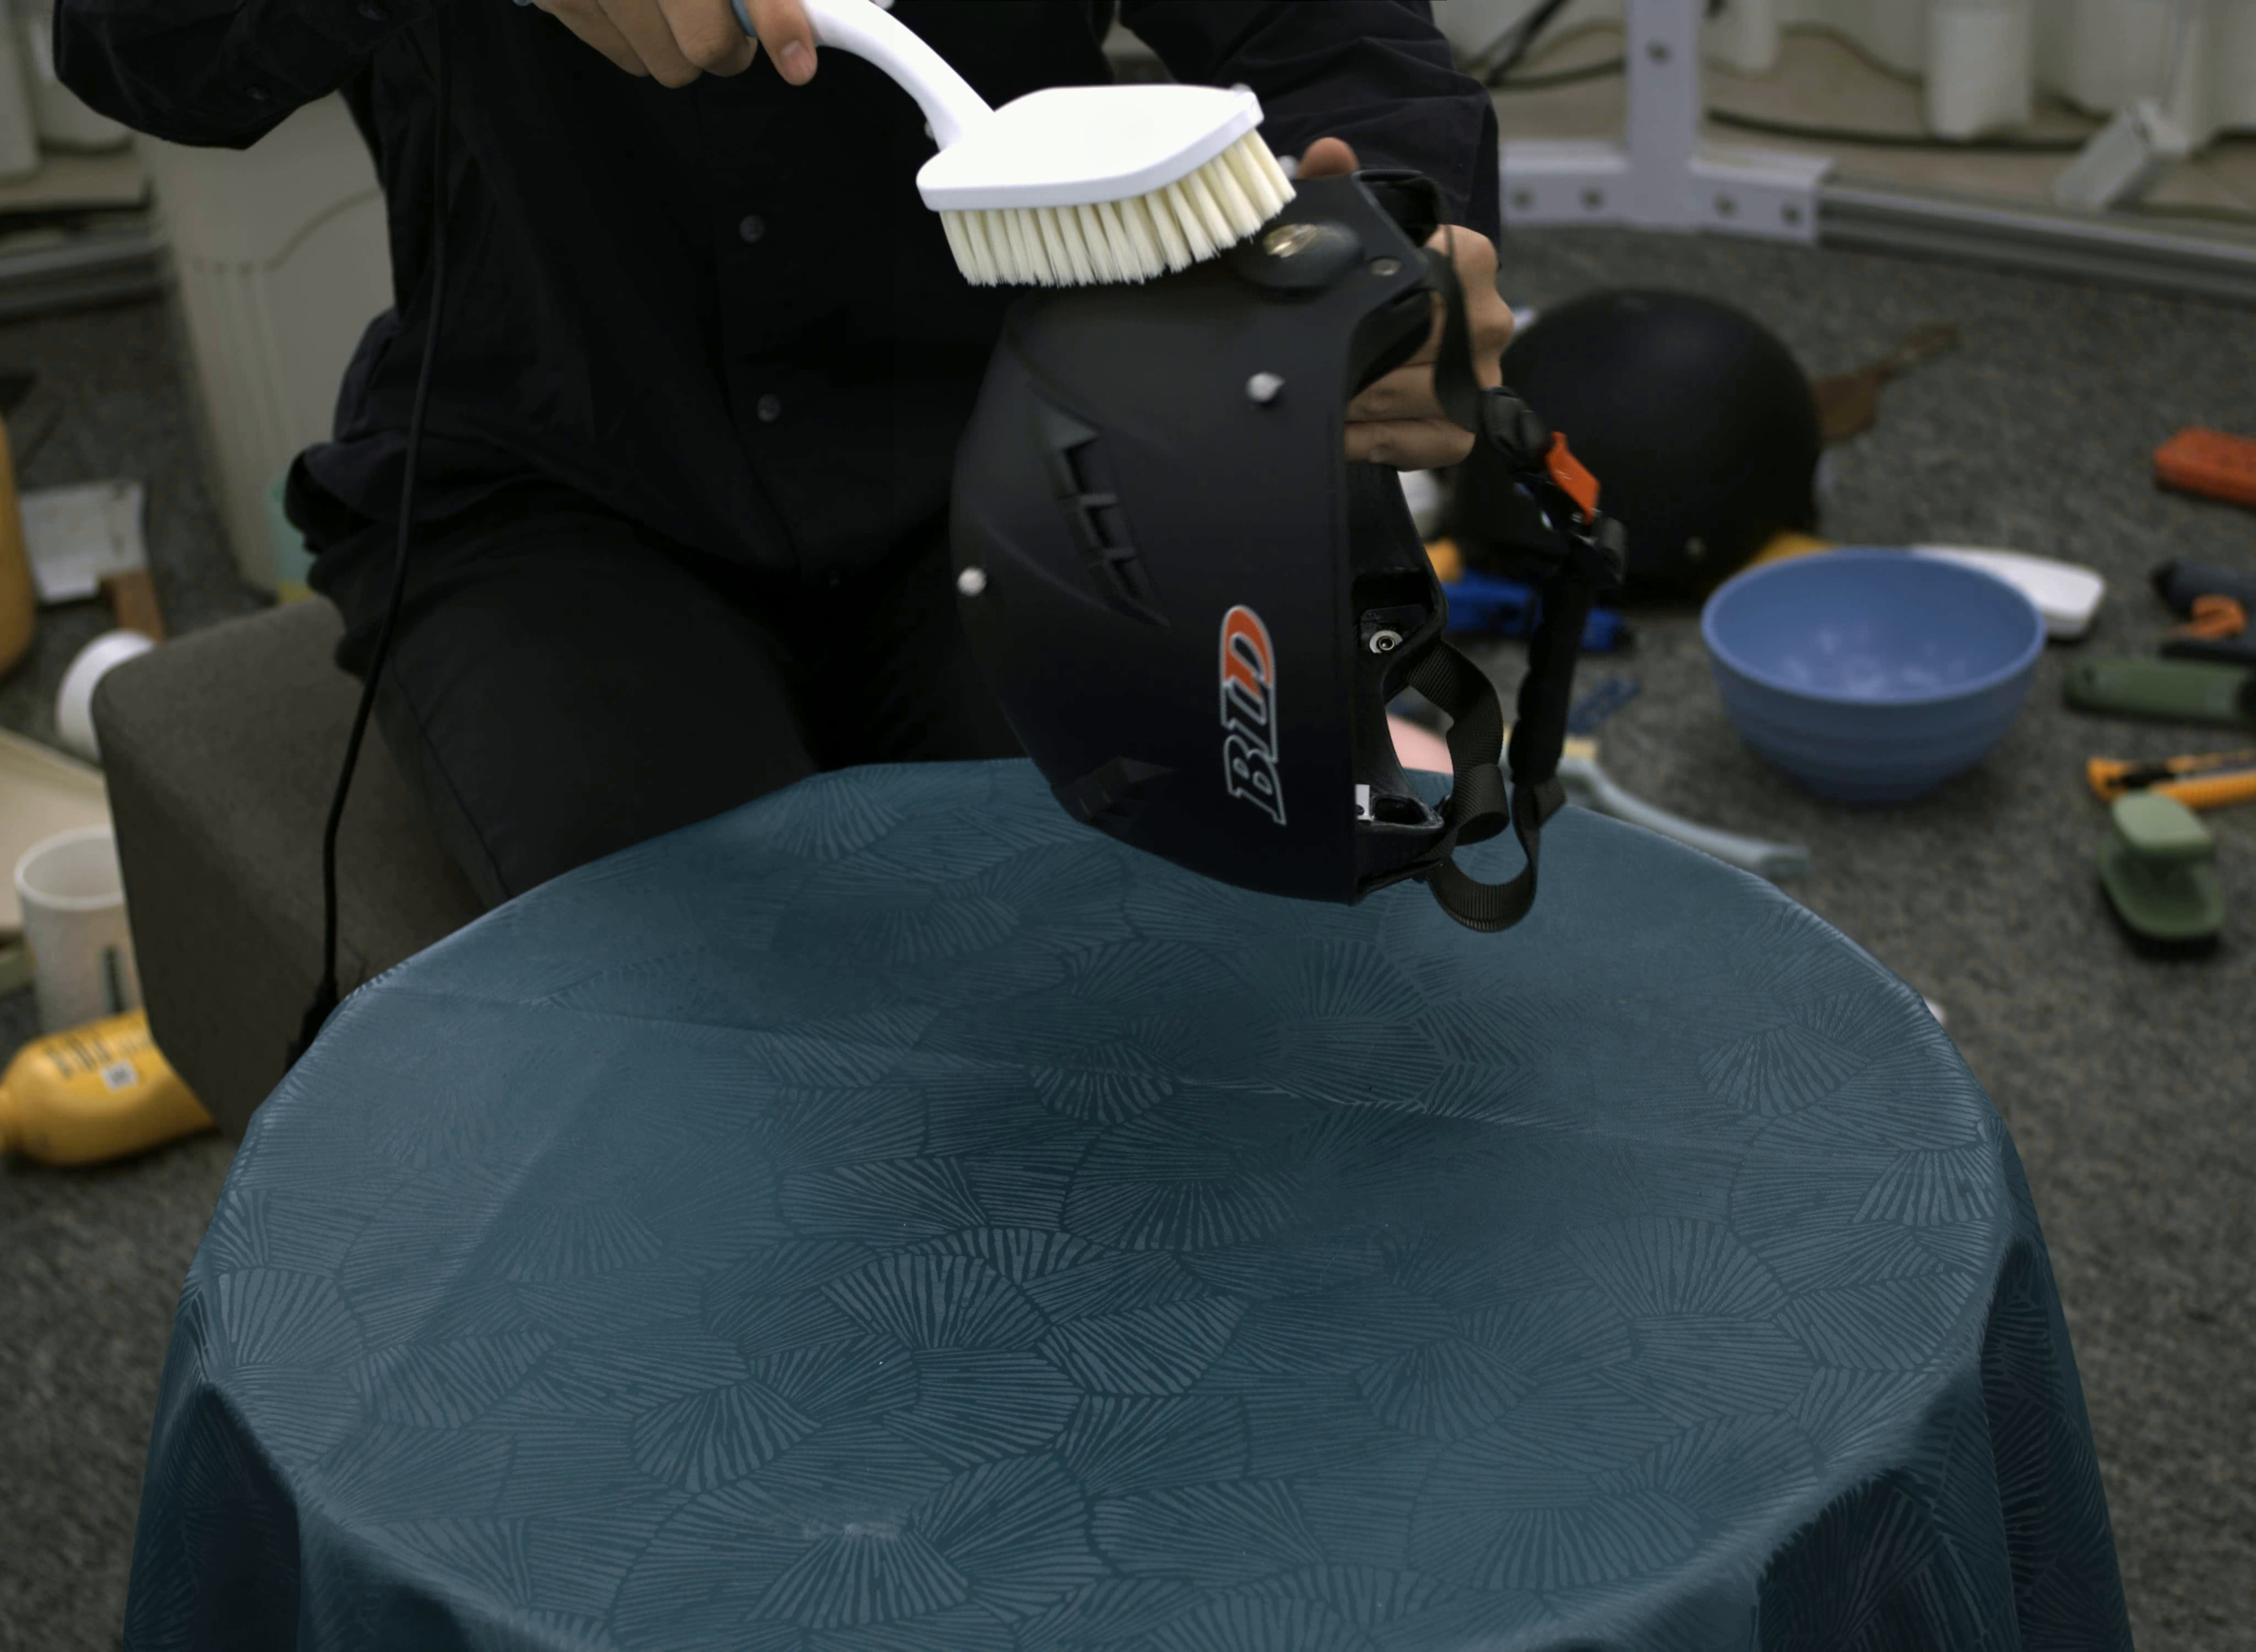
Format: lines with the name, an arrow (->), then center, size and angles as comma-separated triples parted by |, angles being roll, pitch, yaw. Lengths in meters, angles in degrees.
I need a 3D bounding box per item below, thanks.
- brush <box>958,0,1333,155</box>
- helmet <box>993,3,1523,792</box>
brush -> -0.062, -0.271, 1.864 | 0.324, 0.084, 0.083 | 18, 7, 37
helmet -> 0.041, -0.138, 1.844 | 0.171, 0.244, 0.281 | -2, 28, 5
